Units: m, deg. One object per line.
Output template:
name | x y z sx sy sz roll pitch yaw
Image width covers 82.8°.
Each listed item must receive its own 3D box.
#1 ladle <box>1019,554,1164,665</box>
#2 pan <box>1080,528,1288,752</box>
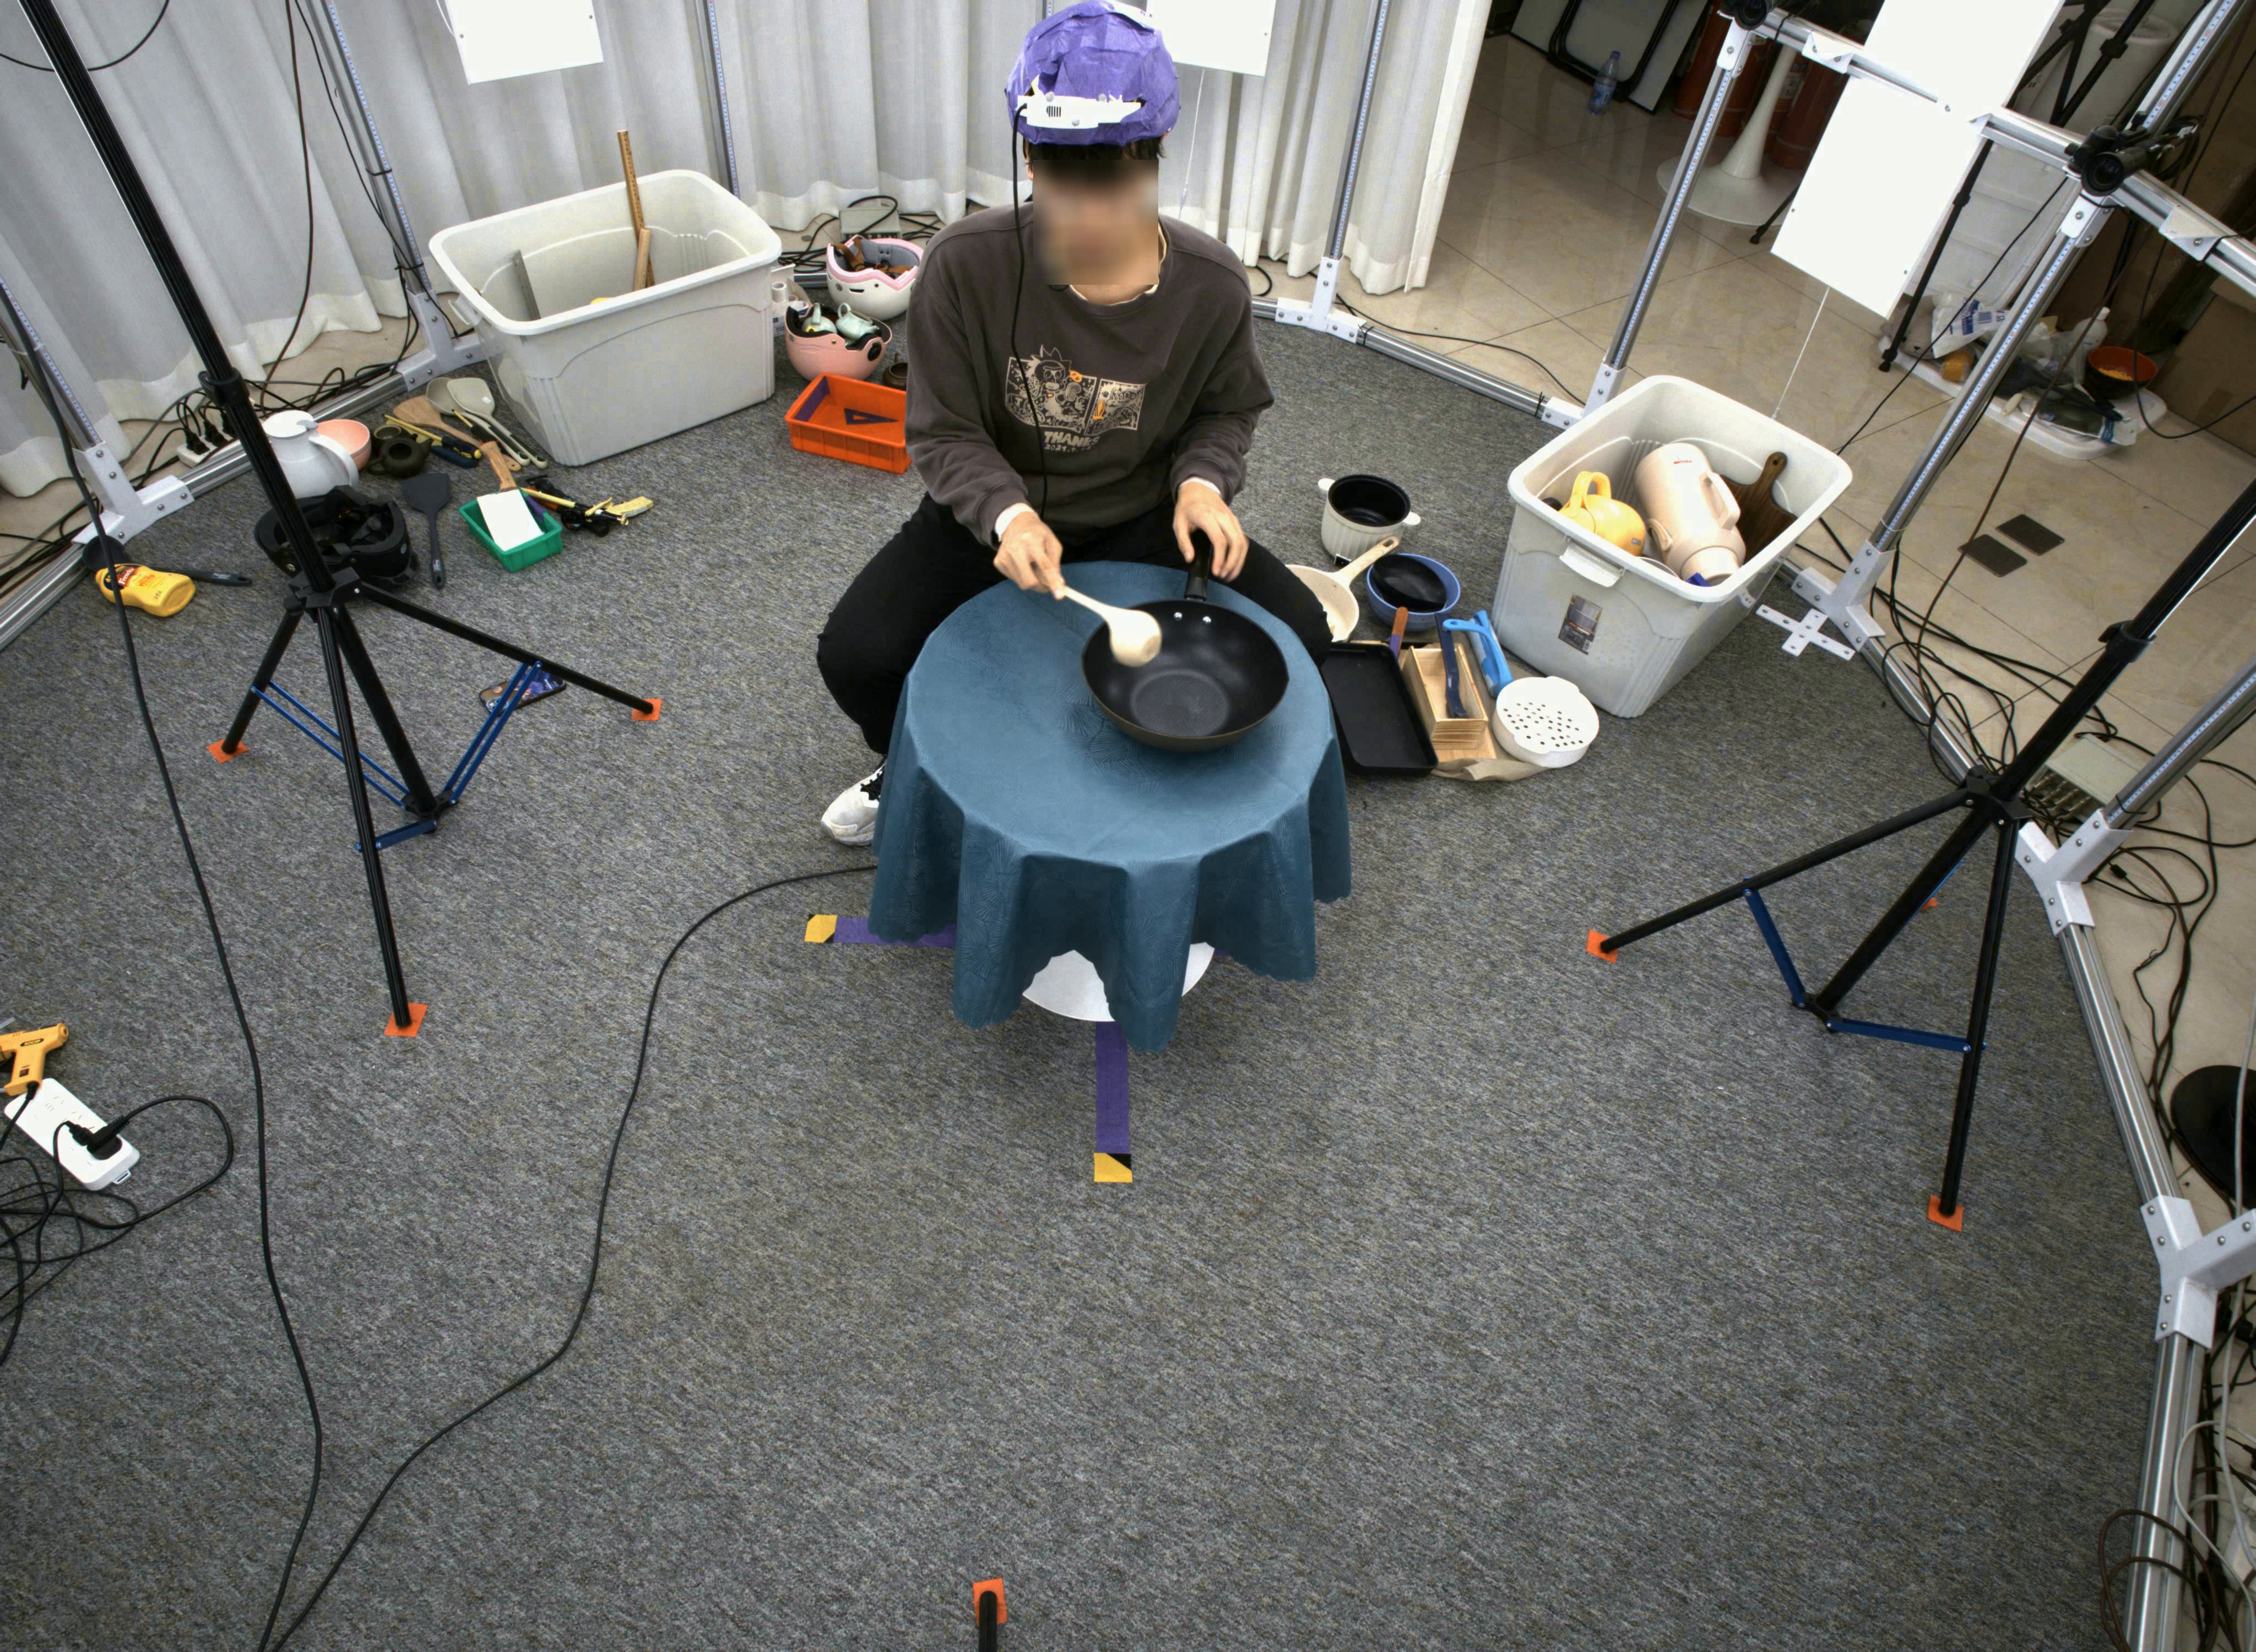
ladle | -0.054 -0.297 1.754 0.072 0.071 0.259 -45 53 -13
pan | 0.086 -0.264 1.848 0.288 0.085 0.474 7 48 3
